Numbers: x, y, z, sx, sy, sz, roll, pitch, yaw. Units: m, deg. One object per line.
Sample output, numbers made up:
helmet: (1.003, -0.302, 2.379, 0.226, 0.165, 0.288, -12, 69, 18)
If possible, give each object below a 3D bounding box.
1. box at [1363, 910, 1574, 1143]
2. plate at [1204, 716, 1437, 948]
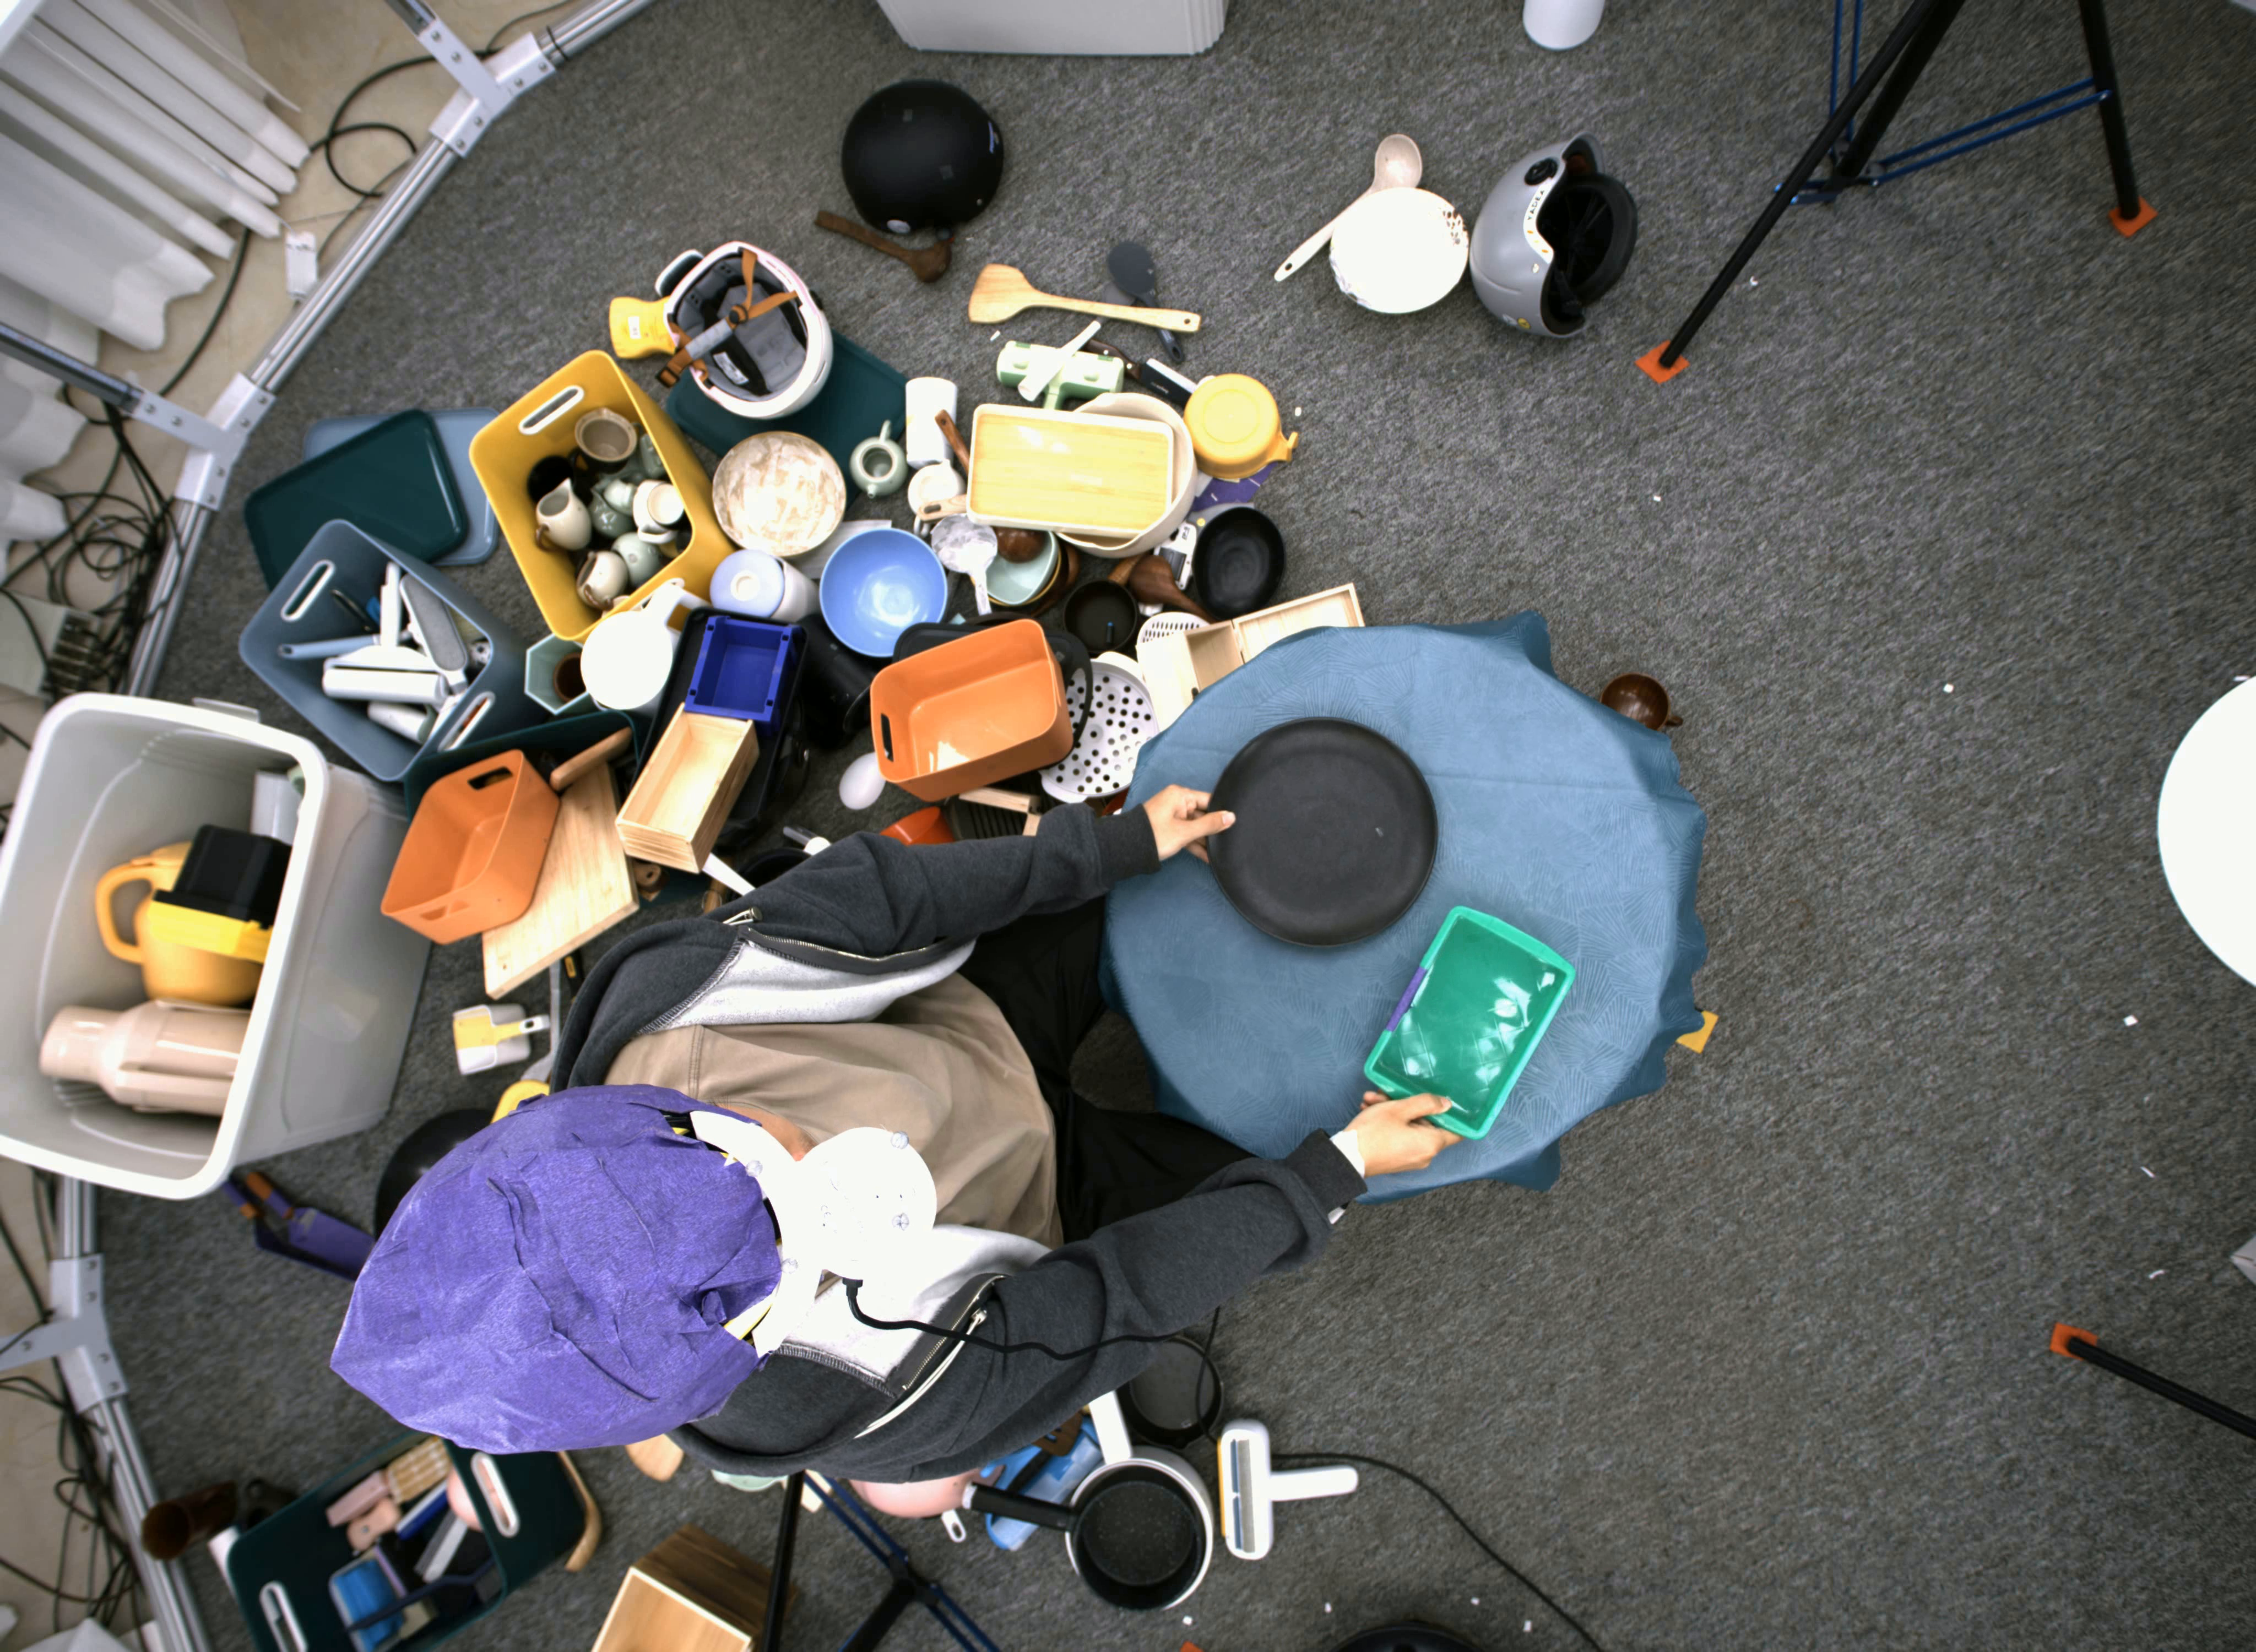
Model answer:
box: (0.344, 0.198, 1.398, 0.138, 0.065, 0.212, 28, 99, 13)
plate: (0.201, 0.006, 1.454, 0.245, 0.023, 0.244, 0, 89, 4)
